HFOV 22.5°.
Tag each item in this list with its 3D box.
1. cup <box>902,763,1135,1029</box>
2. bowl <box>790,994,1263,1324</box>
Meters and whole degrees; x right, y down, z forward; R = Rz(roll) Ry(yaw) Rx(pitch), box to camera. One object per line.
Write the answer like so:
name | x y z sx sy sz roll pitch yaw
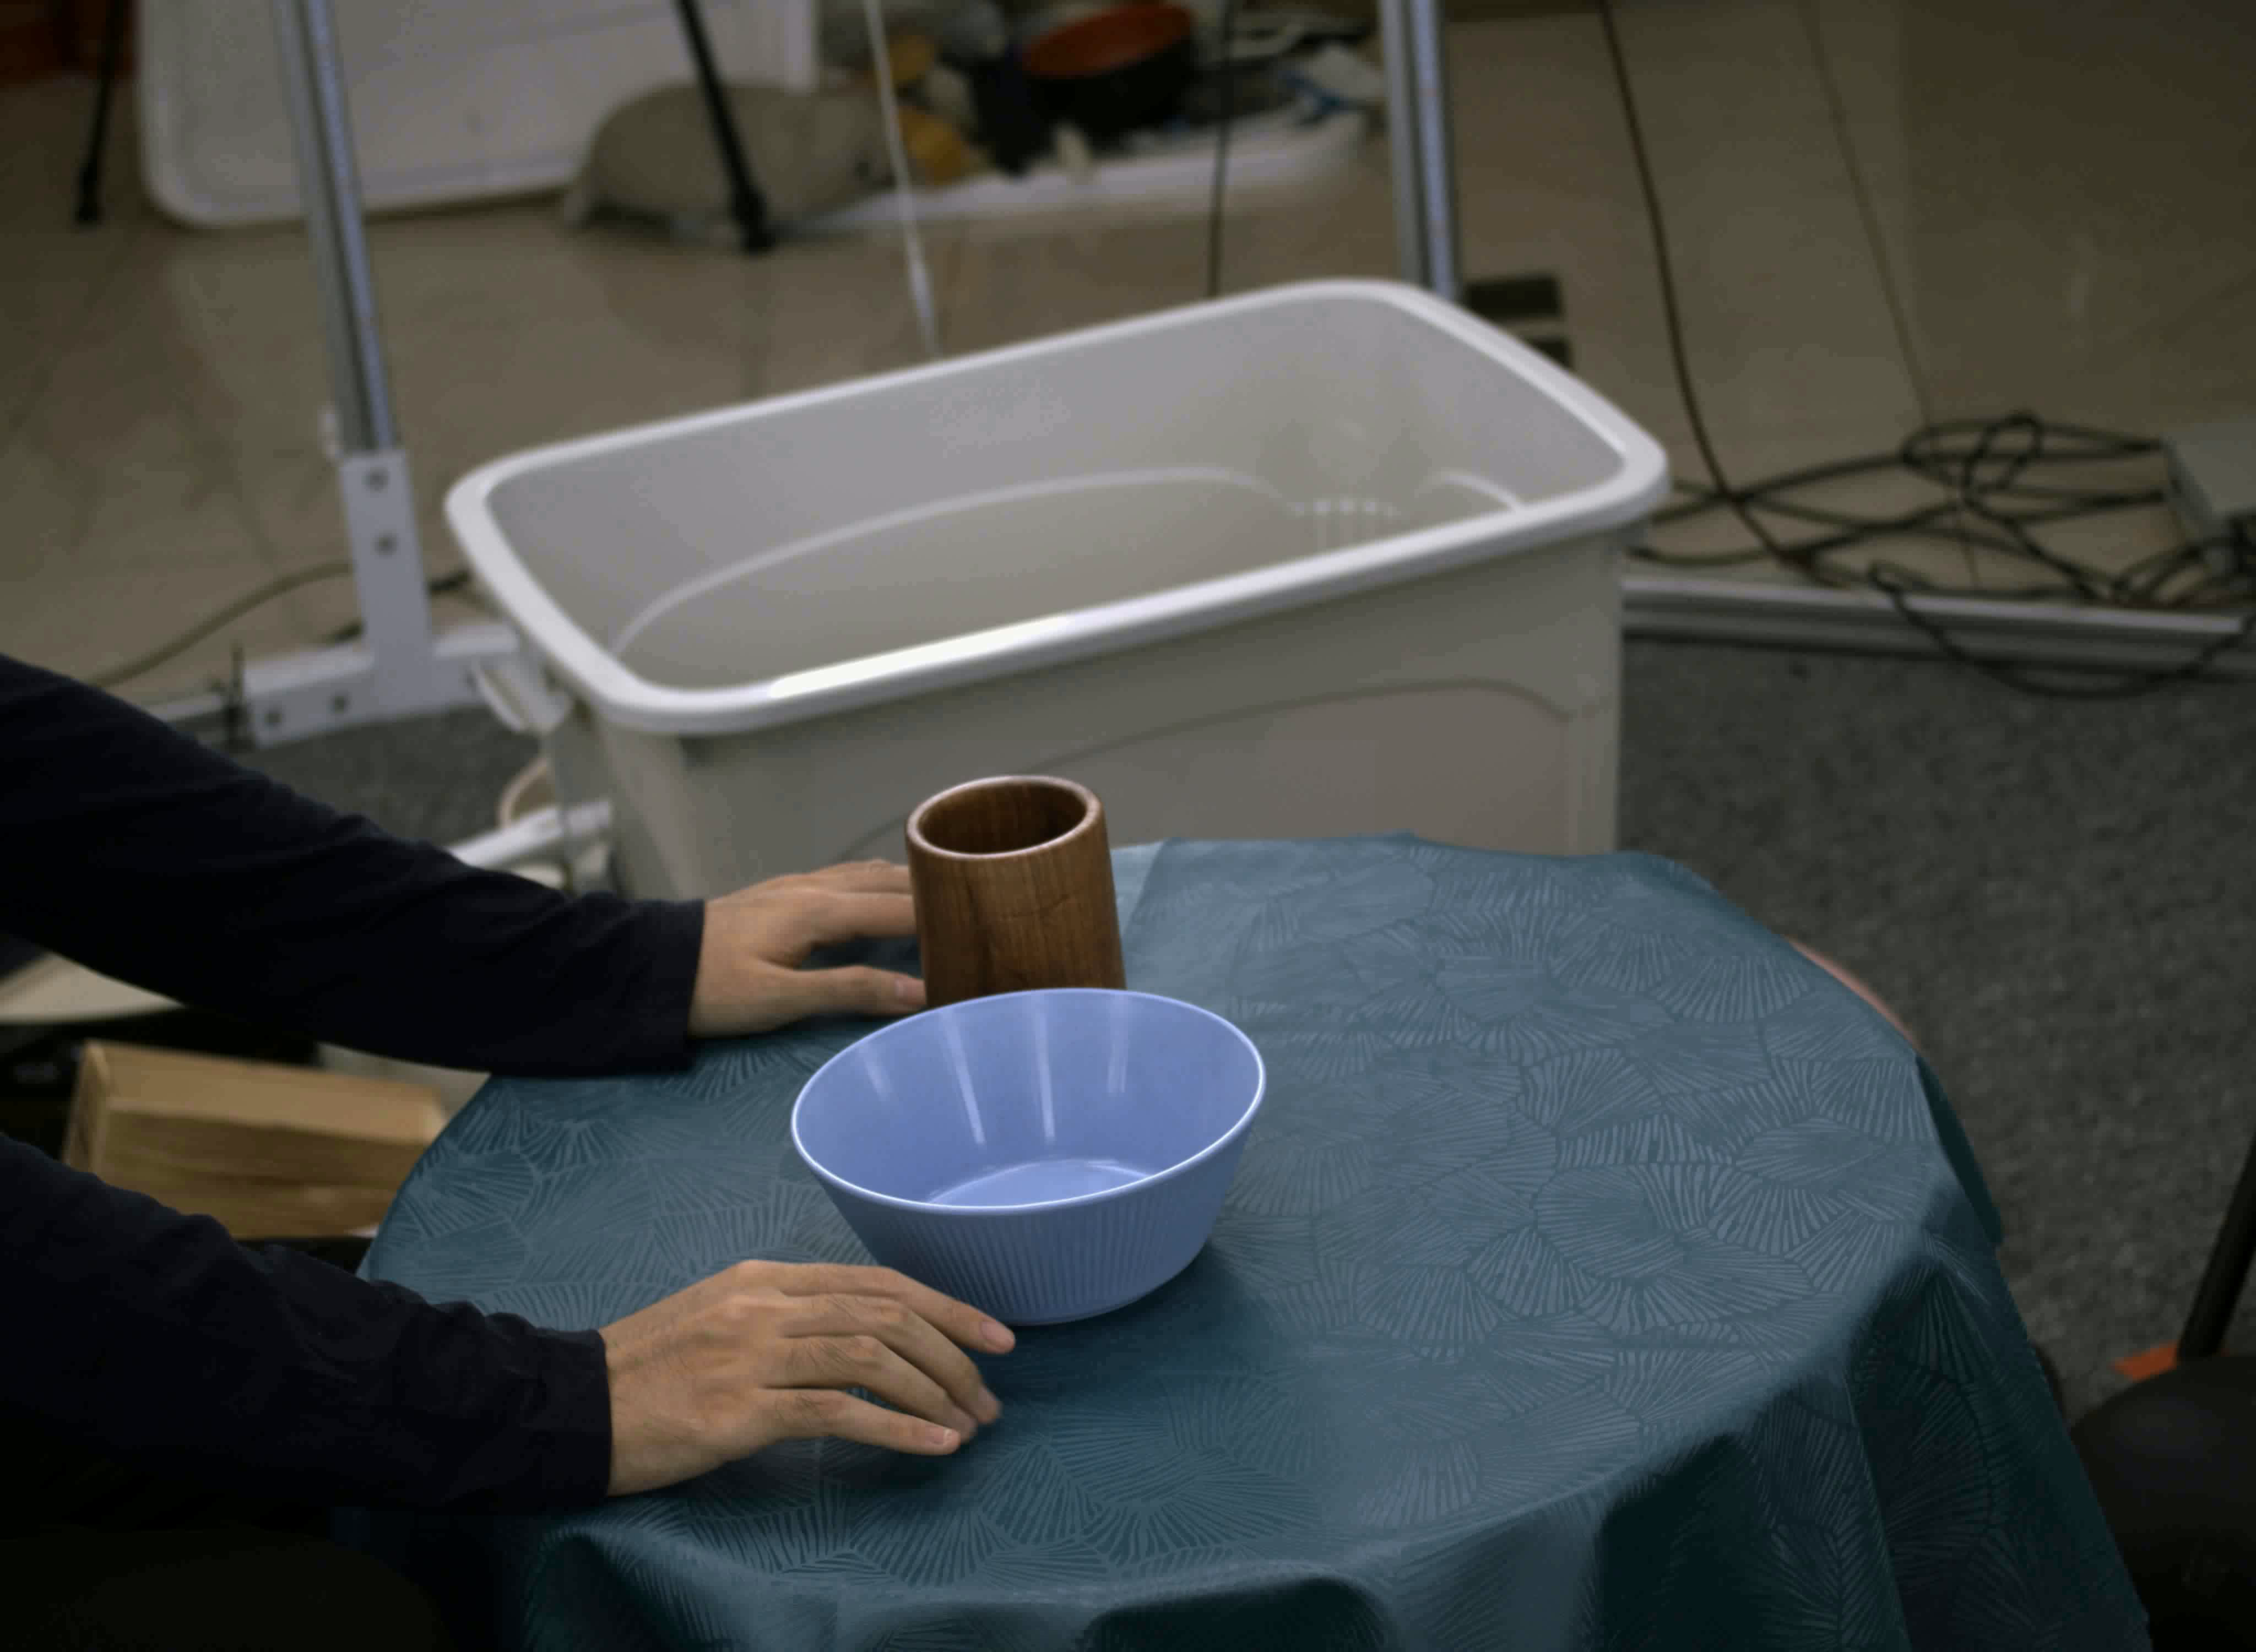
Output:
cup | -0.041 0.045 2.222 0.087 0.120 0.086 -7 25 3
bowl | -0.034 0.129 2.094 0.176 0.071 0.173 -6 24 3
